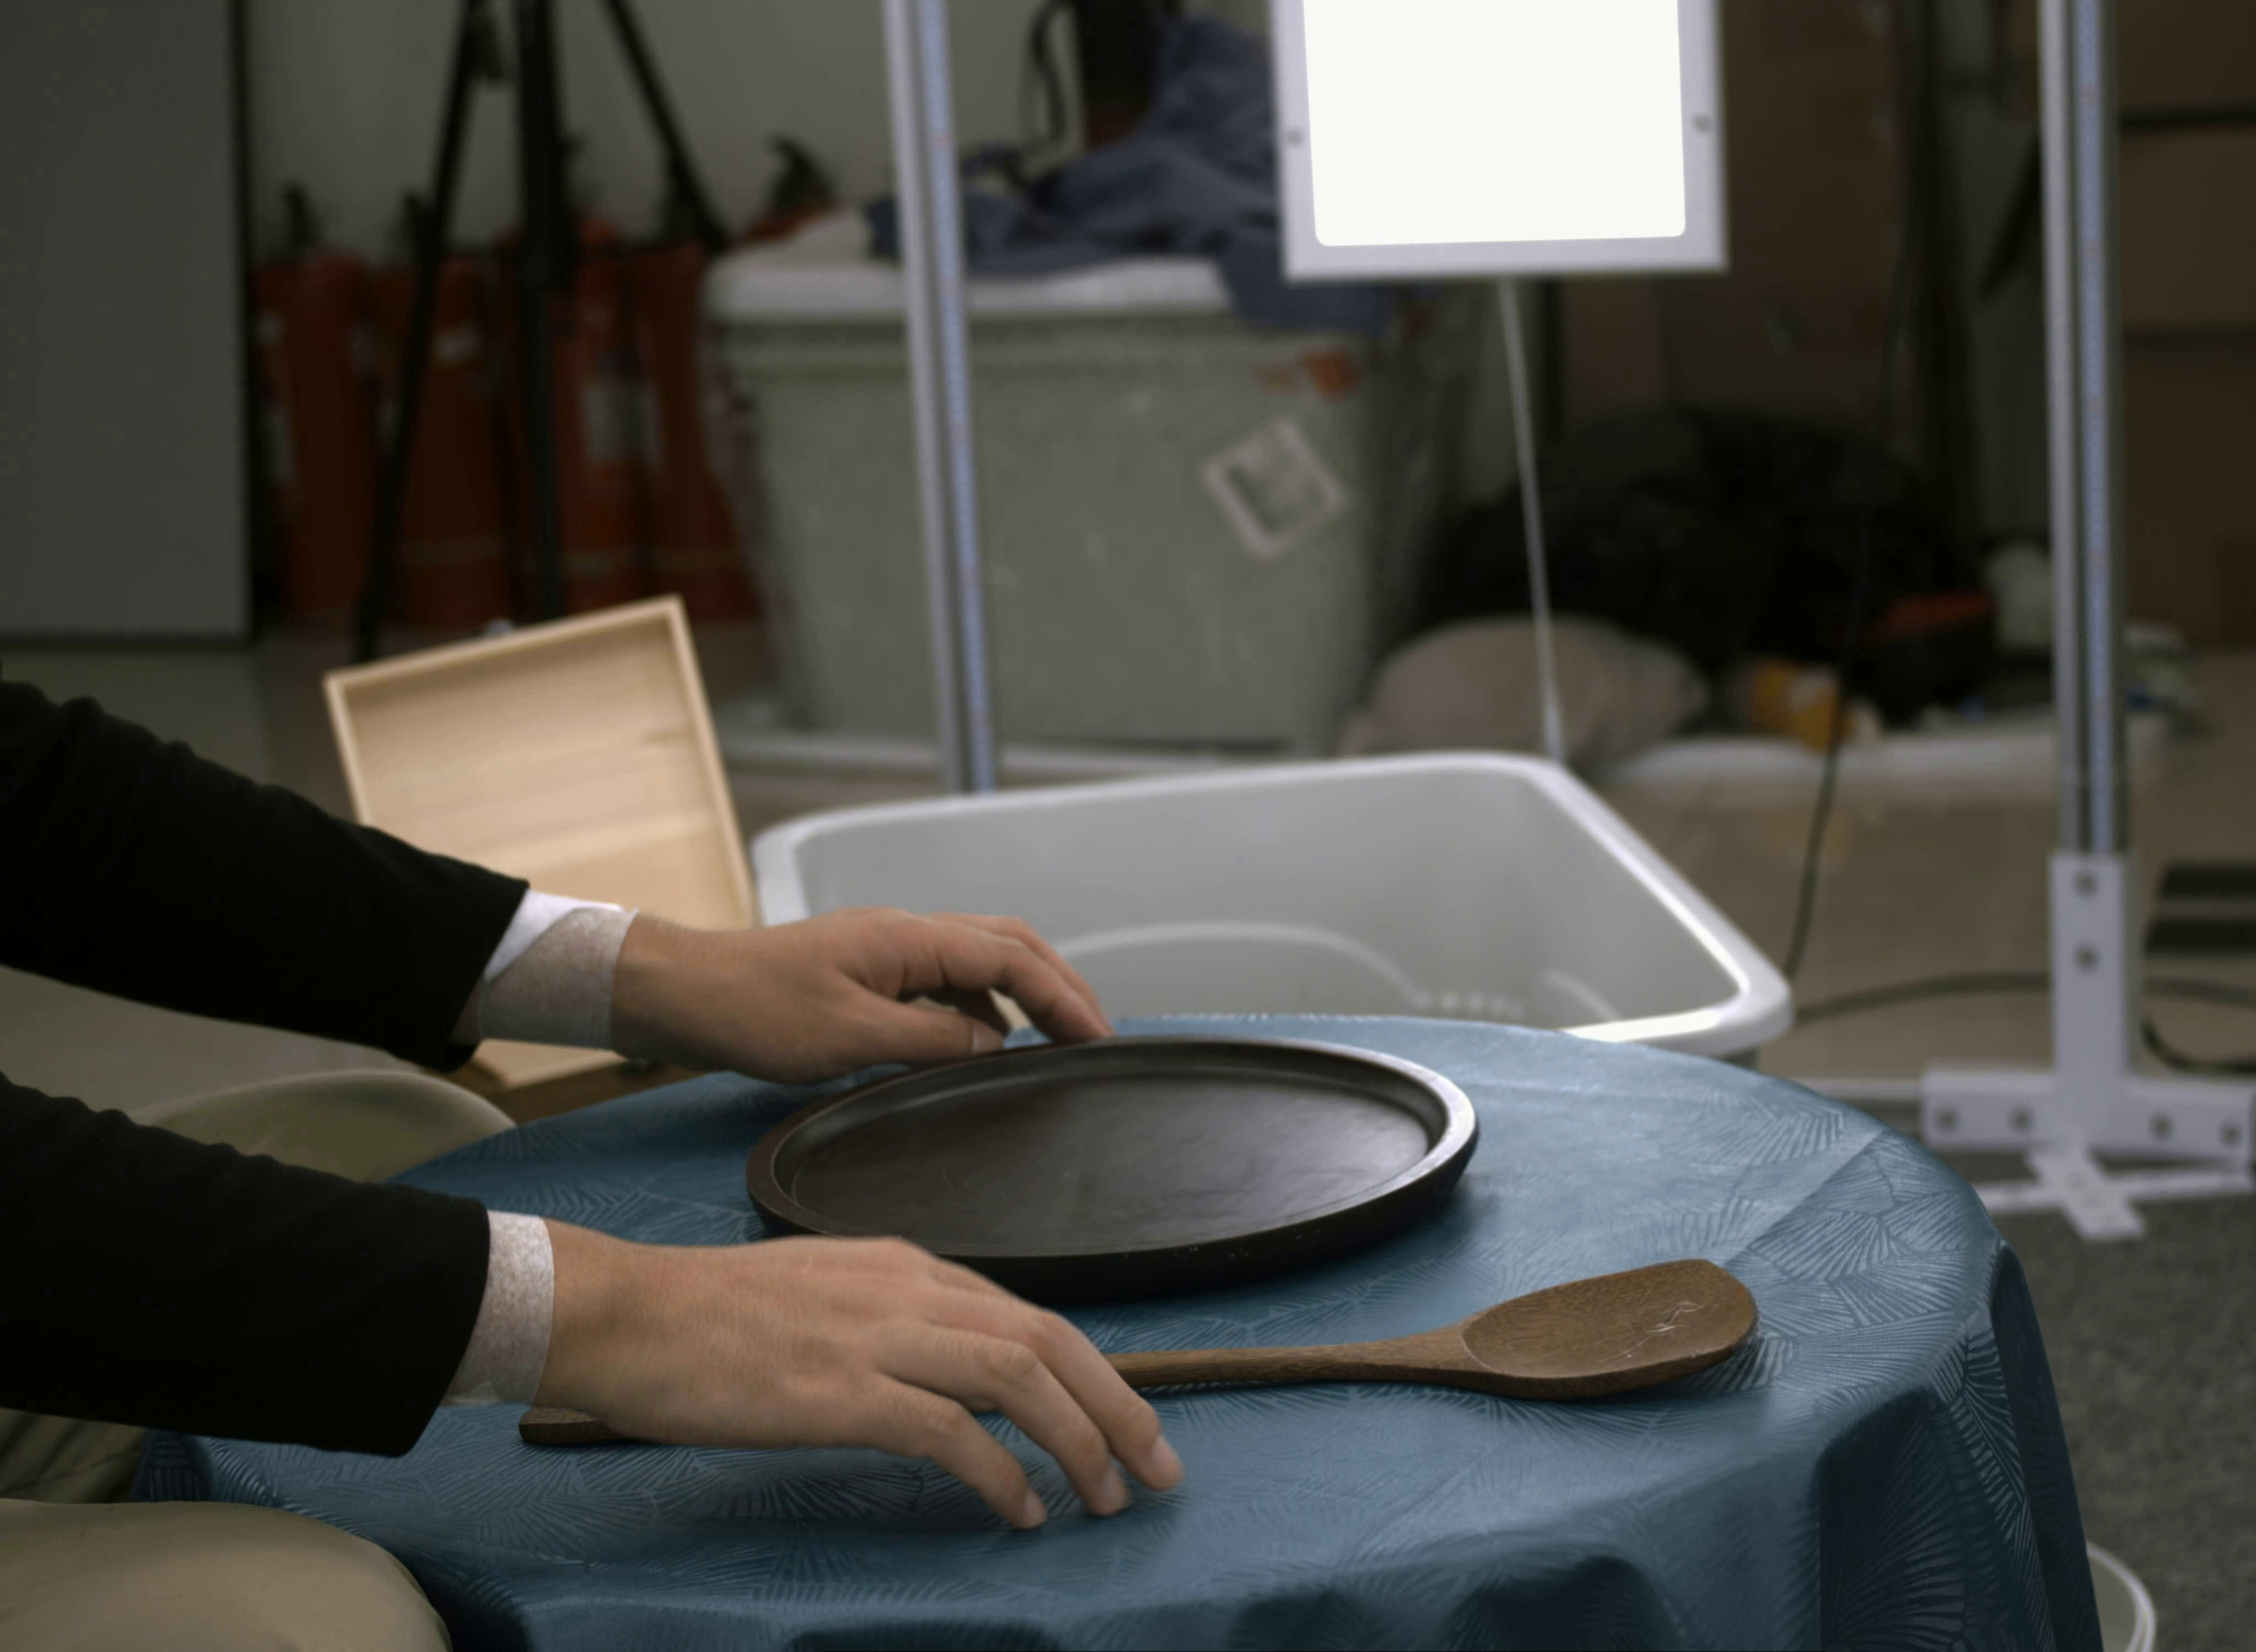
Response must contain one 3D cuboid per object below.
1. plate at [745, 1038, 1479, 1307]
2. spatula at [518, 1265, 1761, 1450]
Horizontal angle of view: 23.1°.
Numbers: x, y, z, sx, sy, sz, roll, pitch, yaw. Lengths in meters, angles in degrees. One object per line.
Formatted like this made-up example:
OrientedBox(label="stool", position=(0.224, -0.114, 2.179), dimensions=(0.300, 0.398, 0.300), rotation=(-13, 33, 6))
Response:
OrientedBox(label="plate", position=(-0.005, 0.116, 1.892), dimensions=(0.254, 0.029, 0.254), rotation=(-6, 15, 0))
OrientedBox(label="spatula", position=(0.003, 0.168, 1.698), dimensions=(0.385, 0.016, 0.096), rotation=(-5, 13, 3))
